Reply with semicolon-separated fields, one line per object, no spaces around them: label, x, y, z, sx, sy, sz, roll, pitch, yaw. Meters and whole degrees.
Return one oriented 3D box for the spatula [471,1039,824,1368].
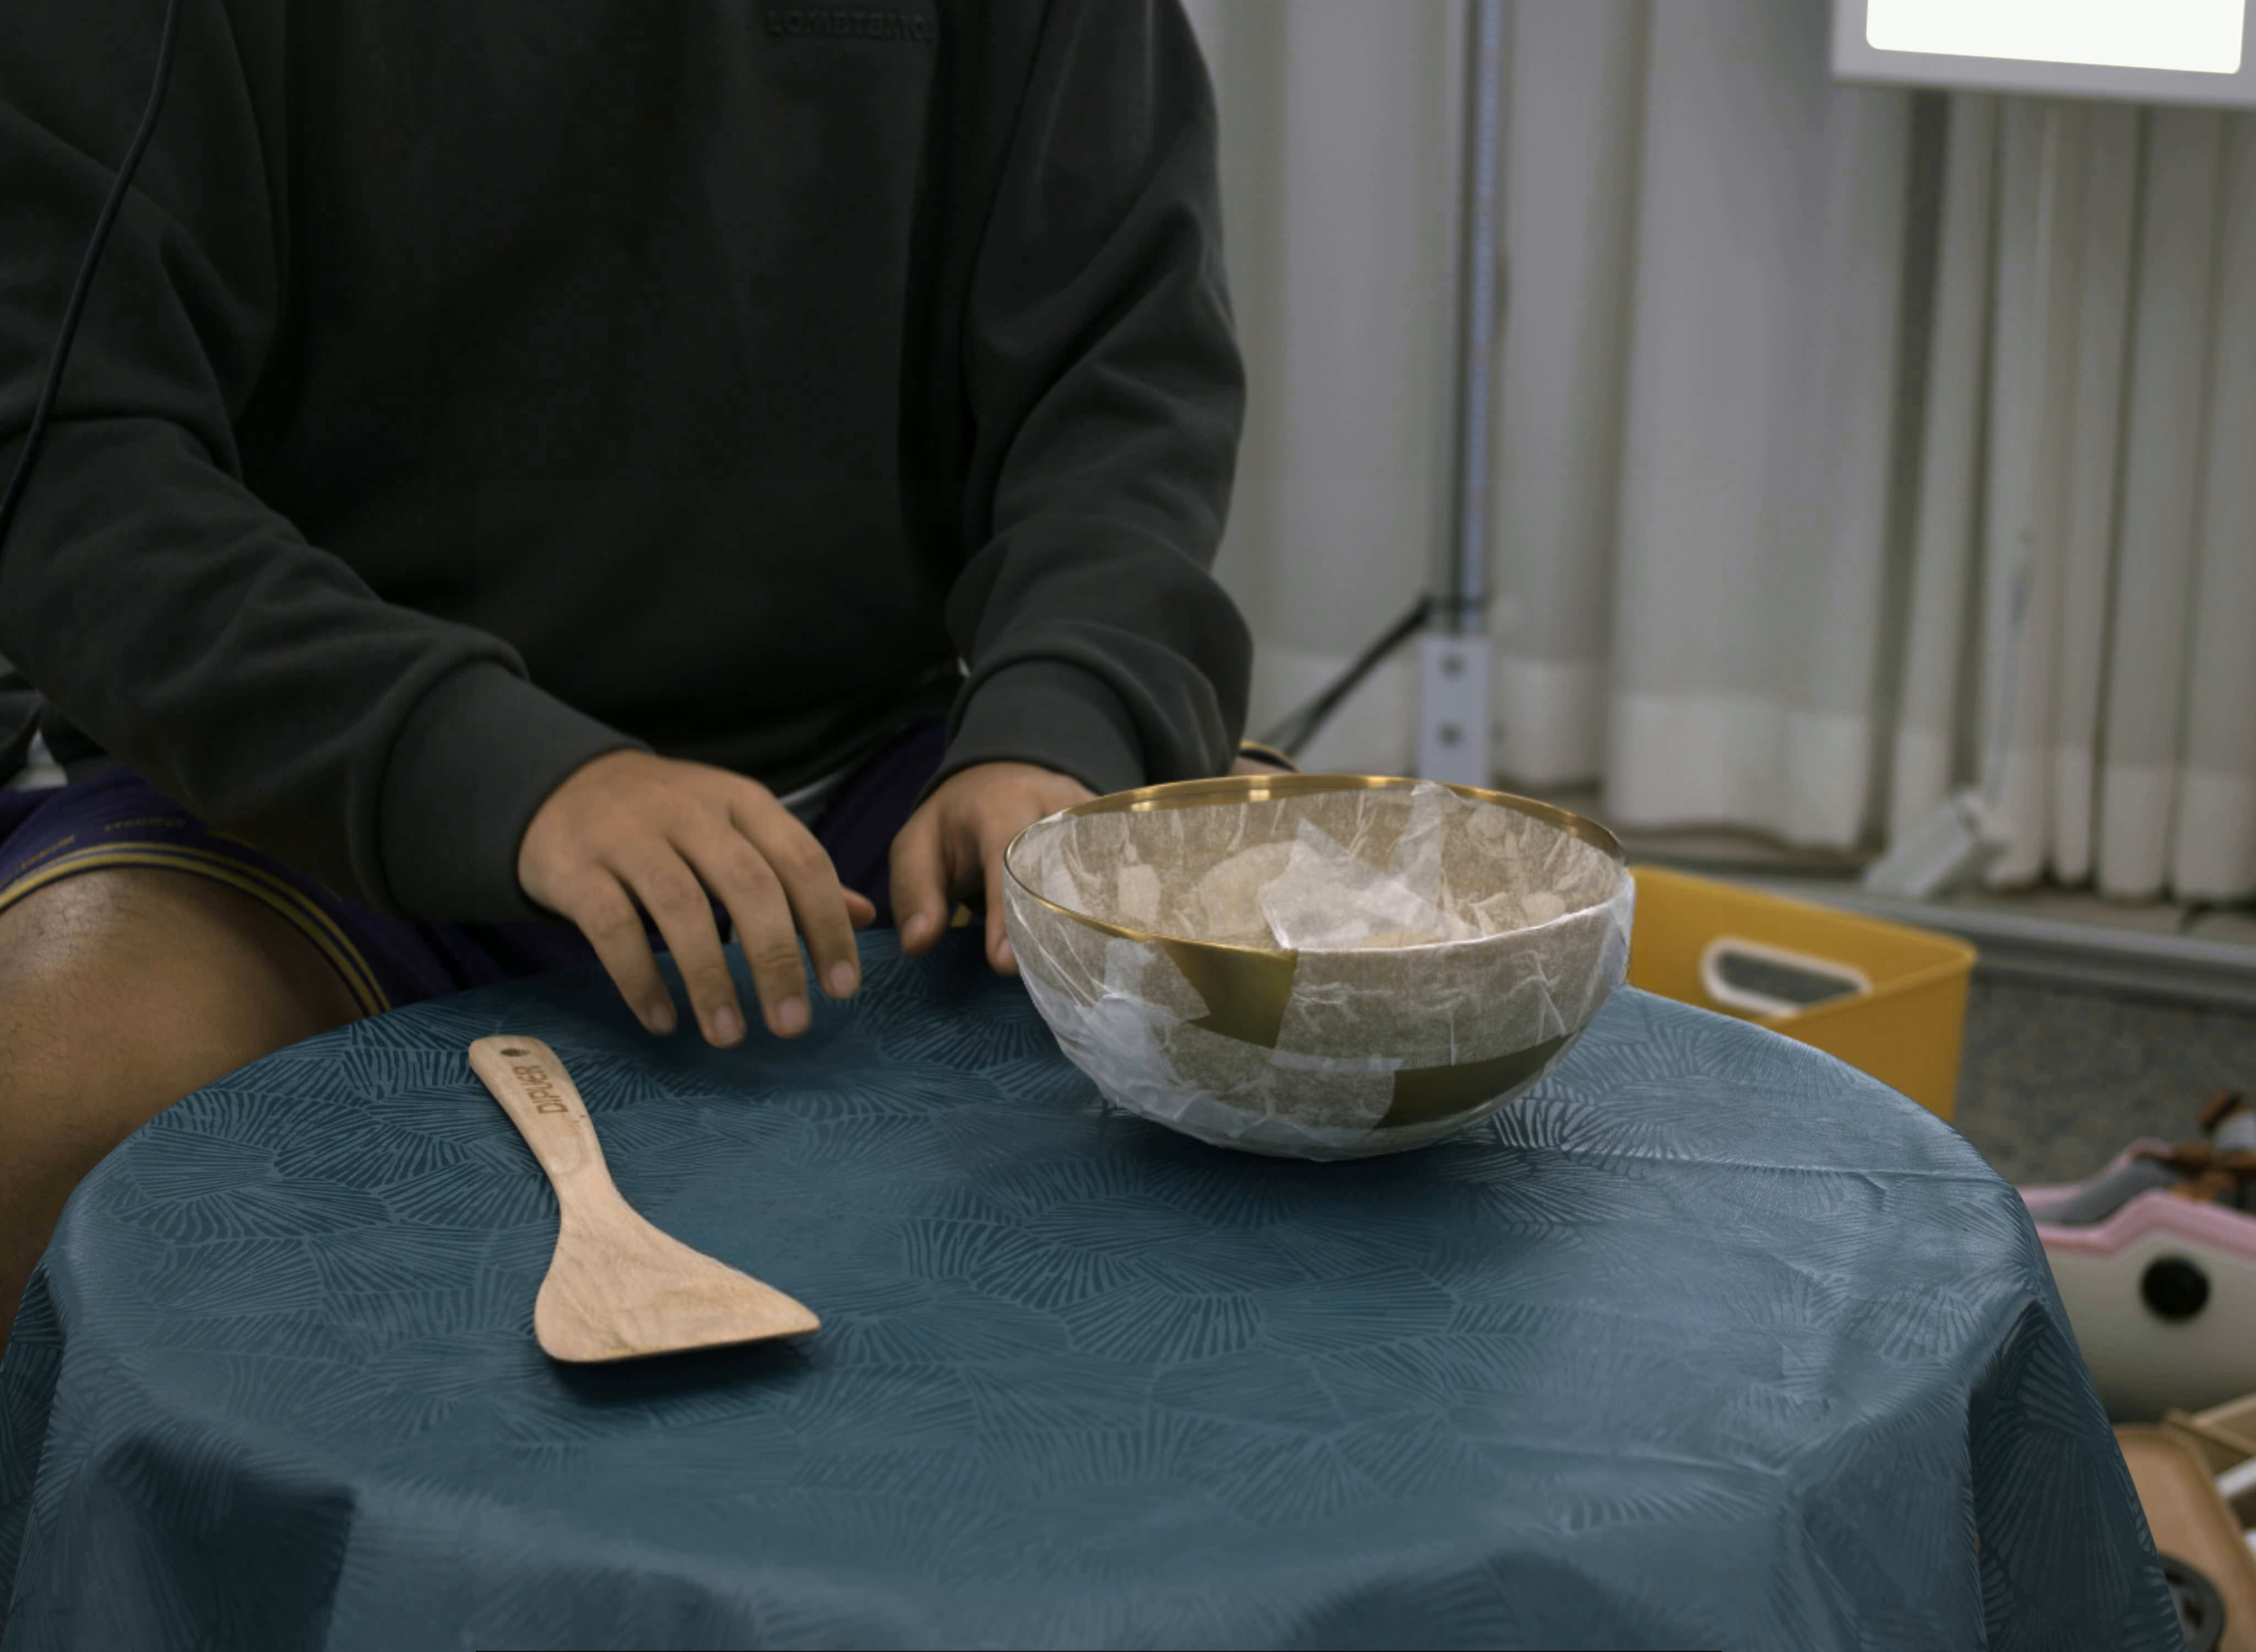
spatula;-0.161;0.110;1.596;0.080;0.016;0.324;-4;16;-15

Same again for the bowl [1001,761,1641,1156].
bowl;0.059;0.049;1.673;0.214;0.095;0.213;1;17;0
